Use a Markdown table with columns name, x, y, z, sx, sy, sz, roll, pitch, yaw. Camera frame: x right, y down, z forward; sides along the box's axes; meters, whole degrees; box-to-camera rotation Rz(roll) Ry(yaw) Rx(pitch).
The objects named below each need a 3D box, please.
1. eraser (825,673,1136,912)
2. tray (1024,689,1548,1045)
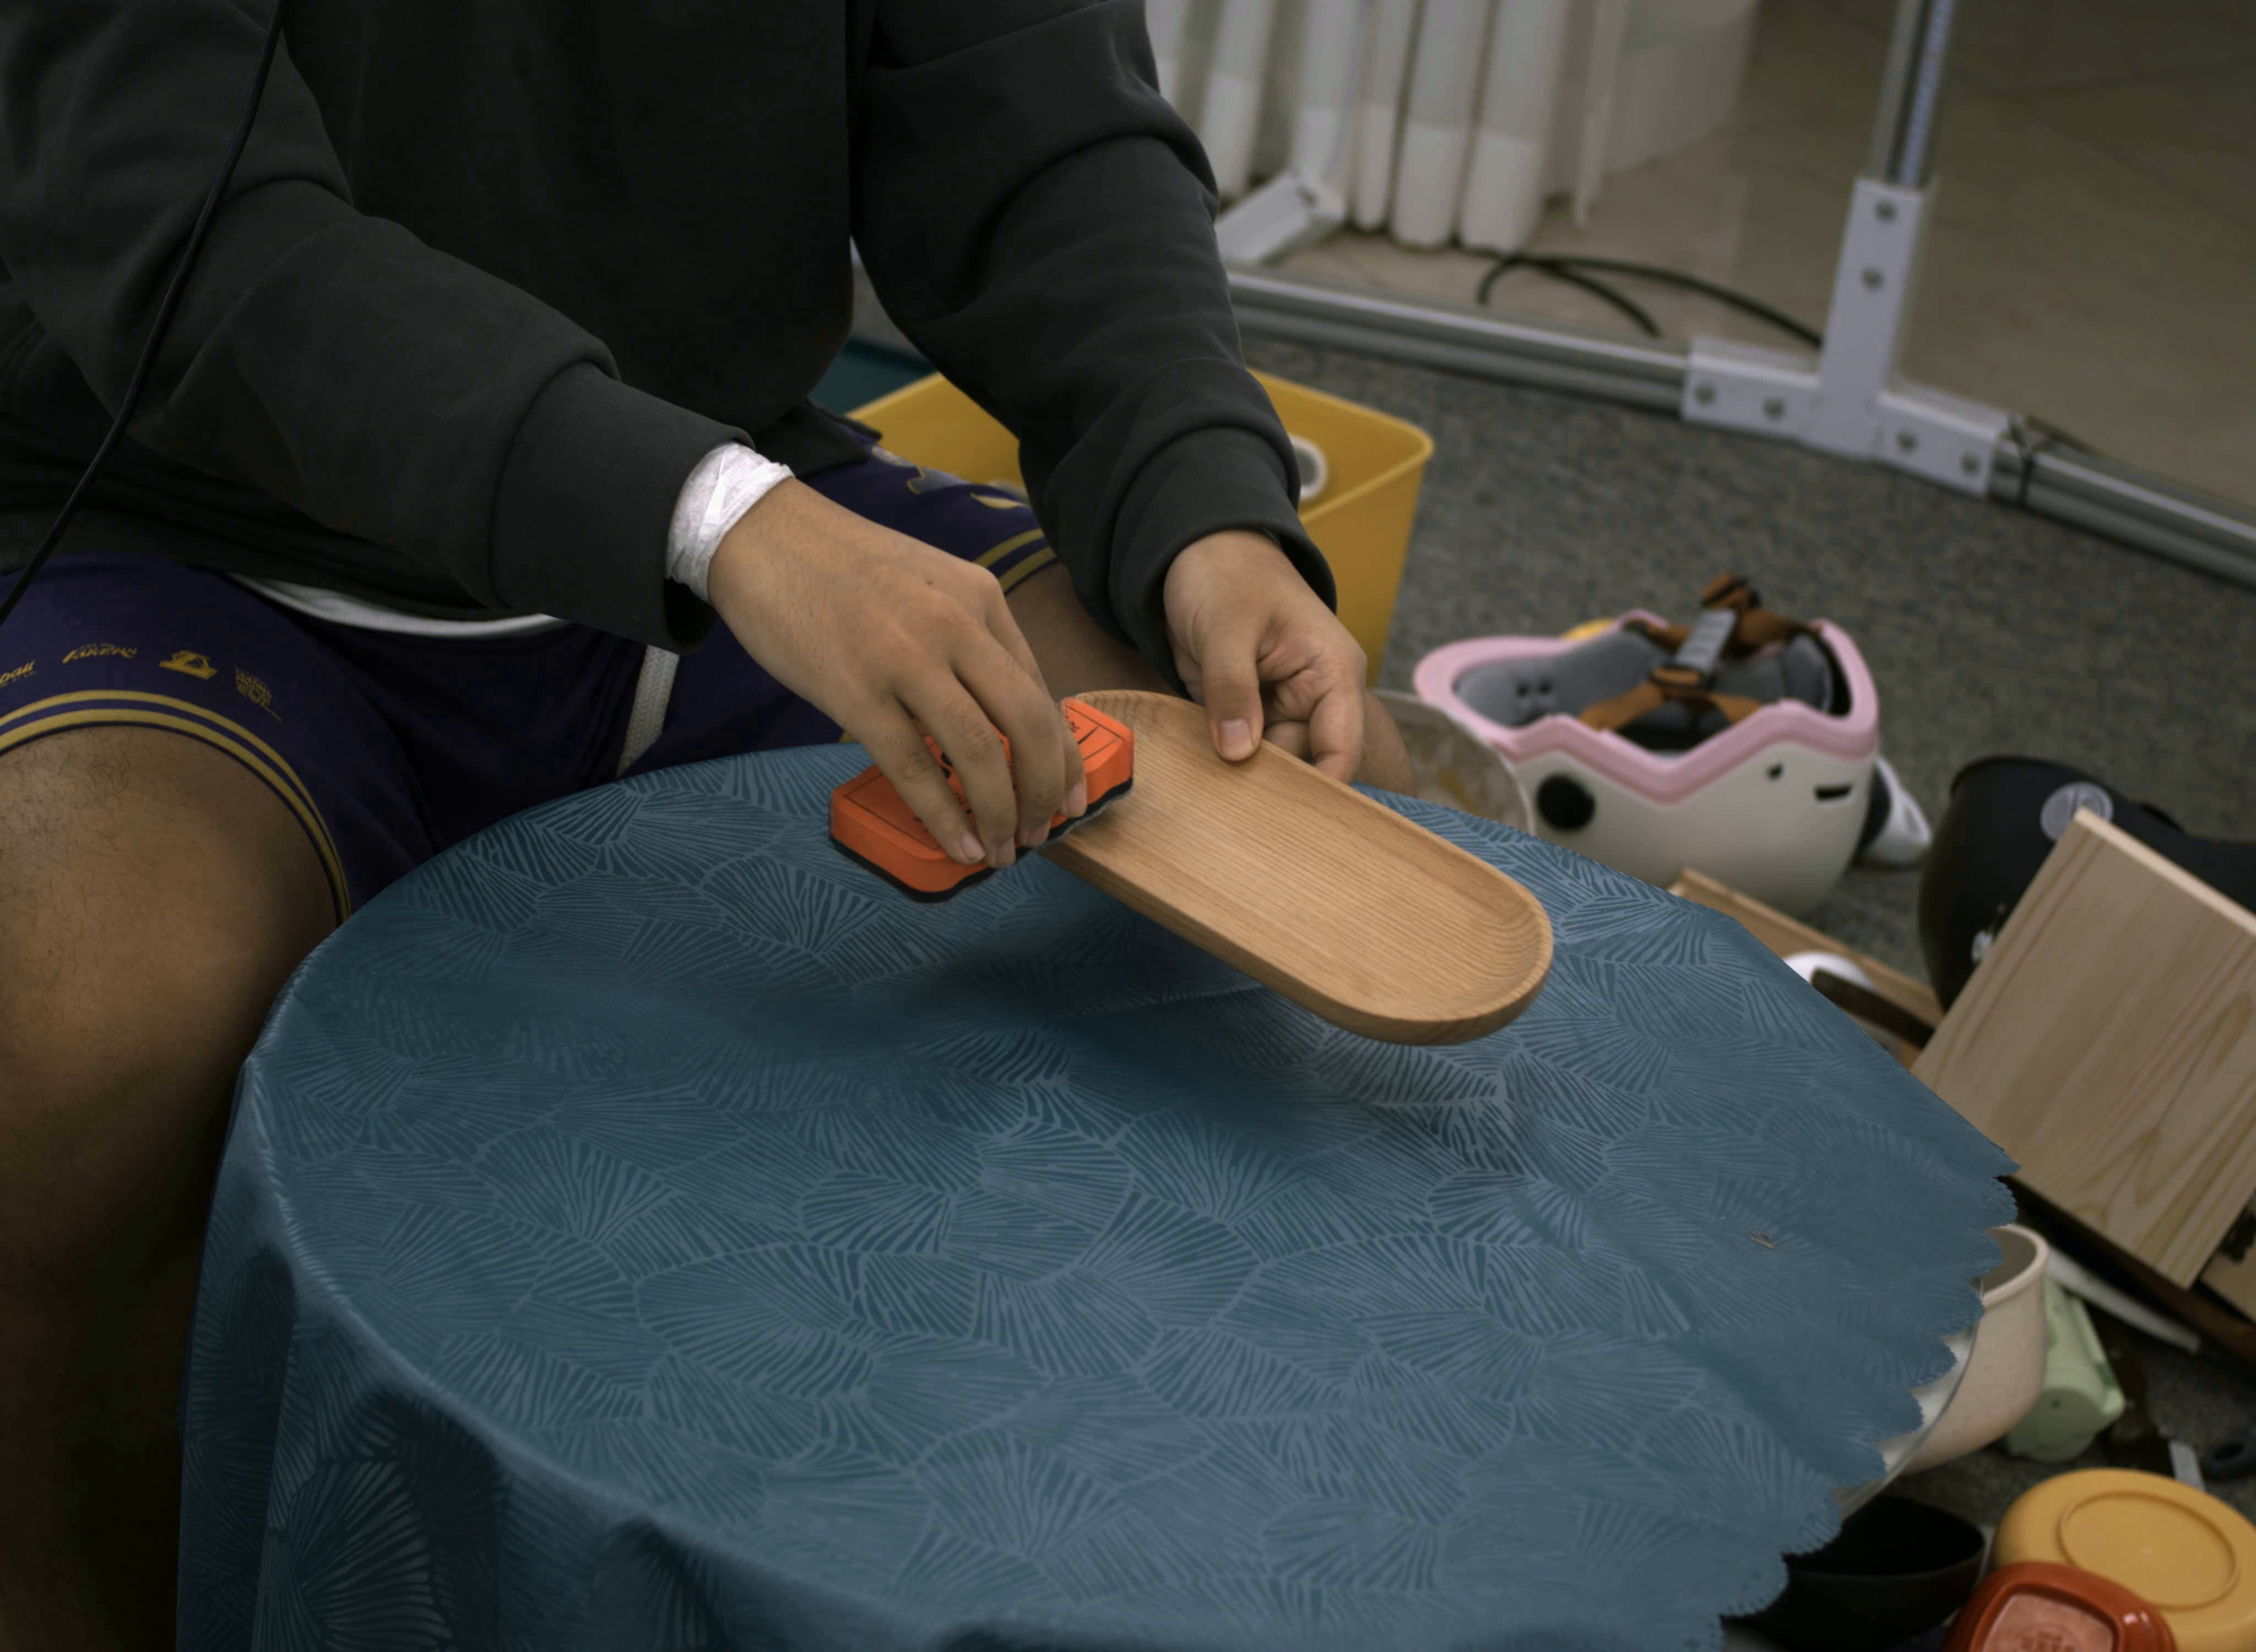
| name | x | y | z | sx | sy | sz | roll | pitch | yaw |
| --- | --- | --- | --- | --- | --- | --- | --- | --- | --- |
| eraser | -0.052 | -0.012 | 1.888 | 0.059 | 0.023 | 0.108 | 39 | 50 | 26 |
| tray | 0.046 | 0.013 | 1.892 | 0.233 | 0.020 | 0.101 | 28 | 42 | 30 |
